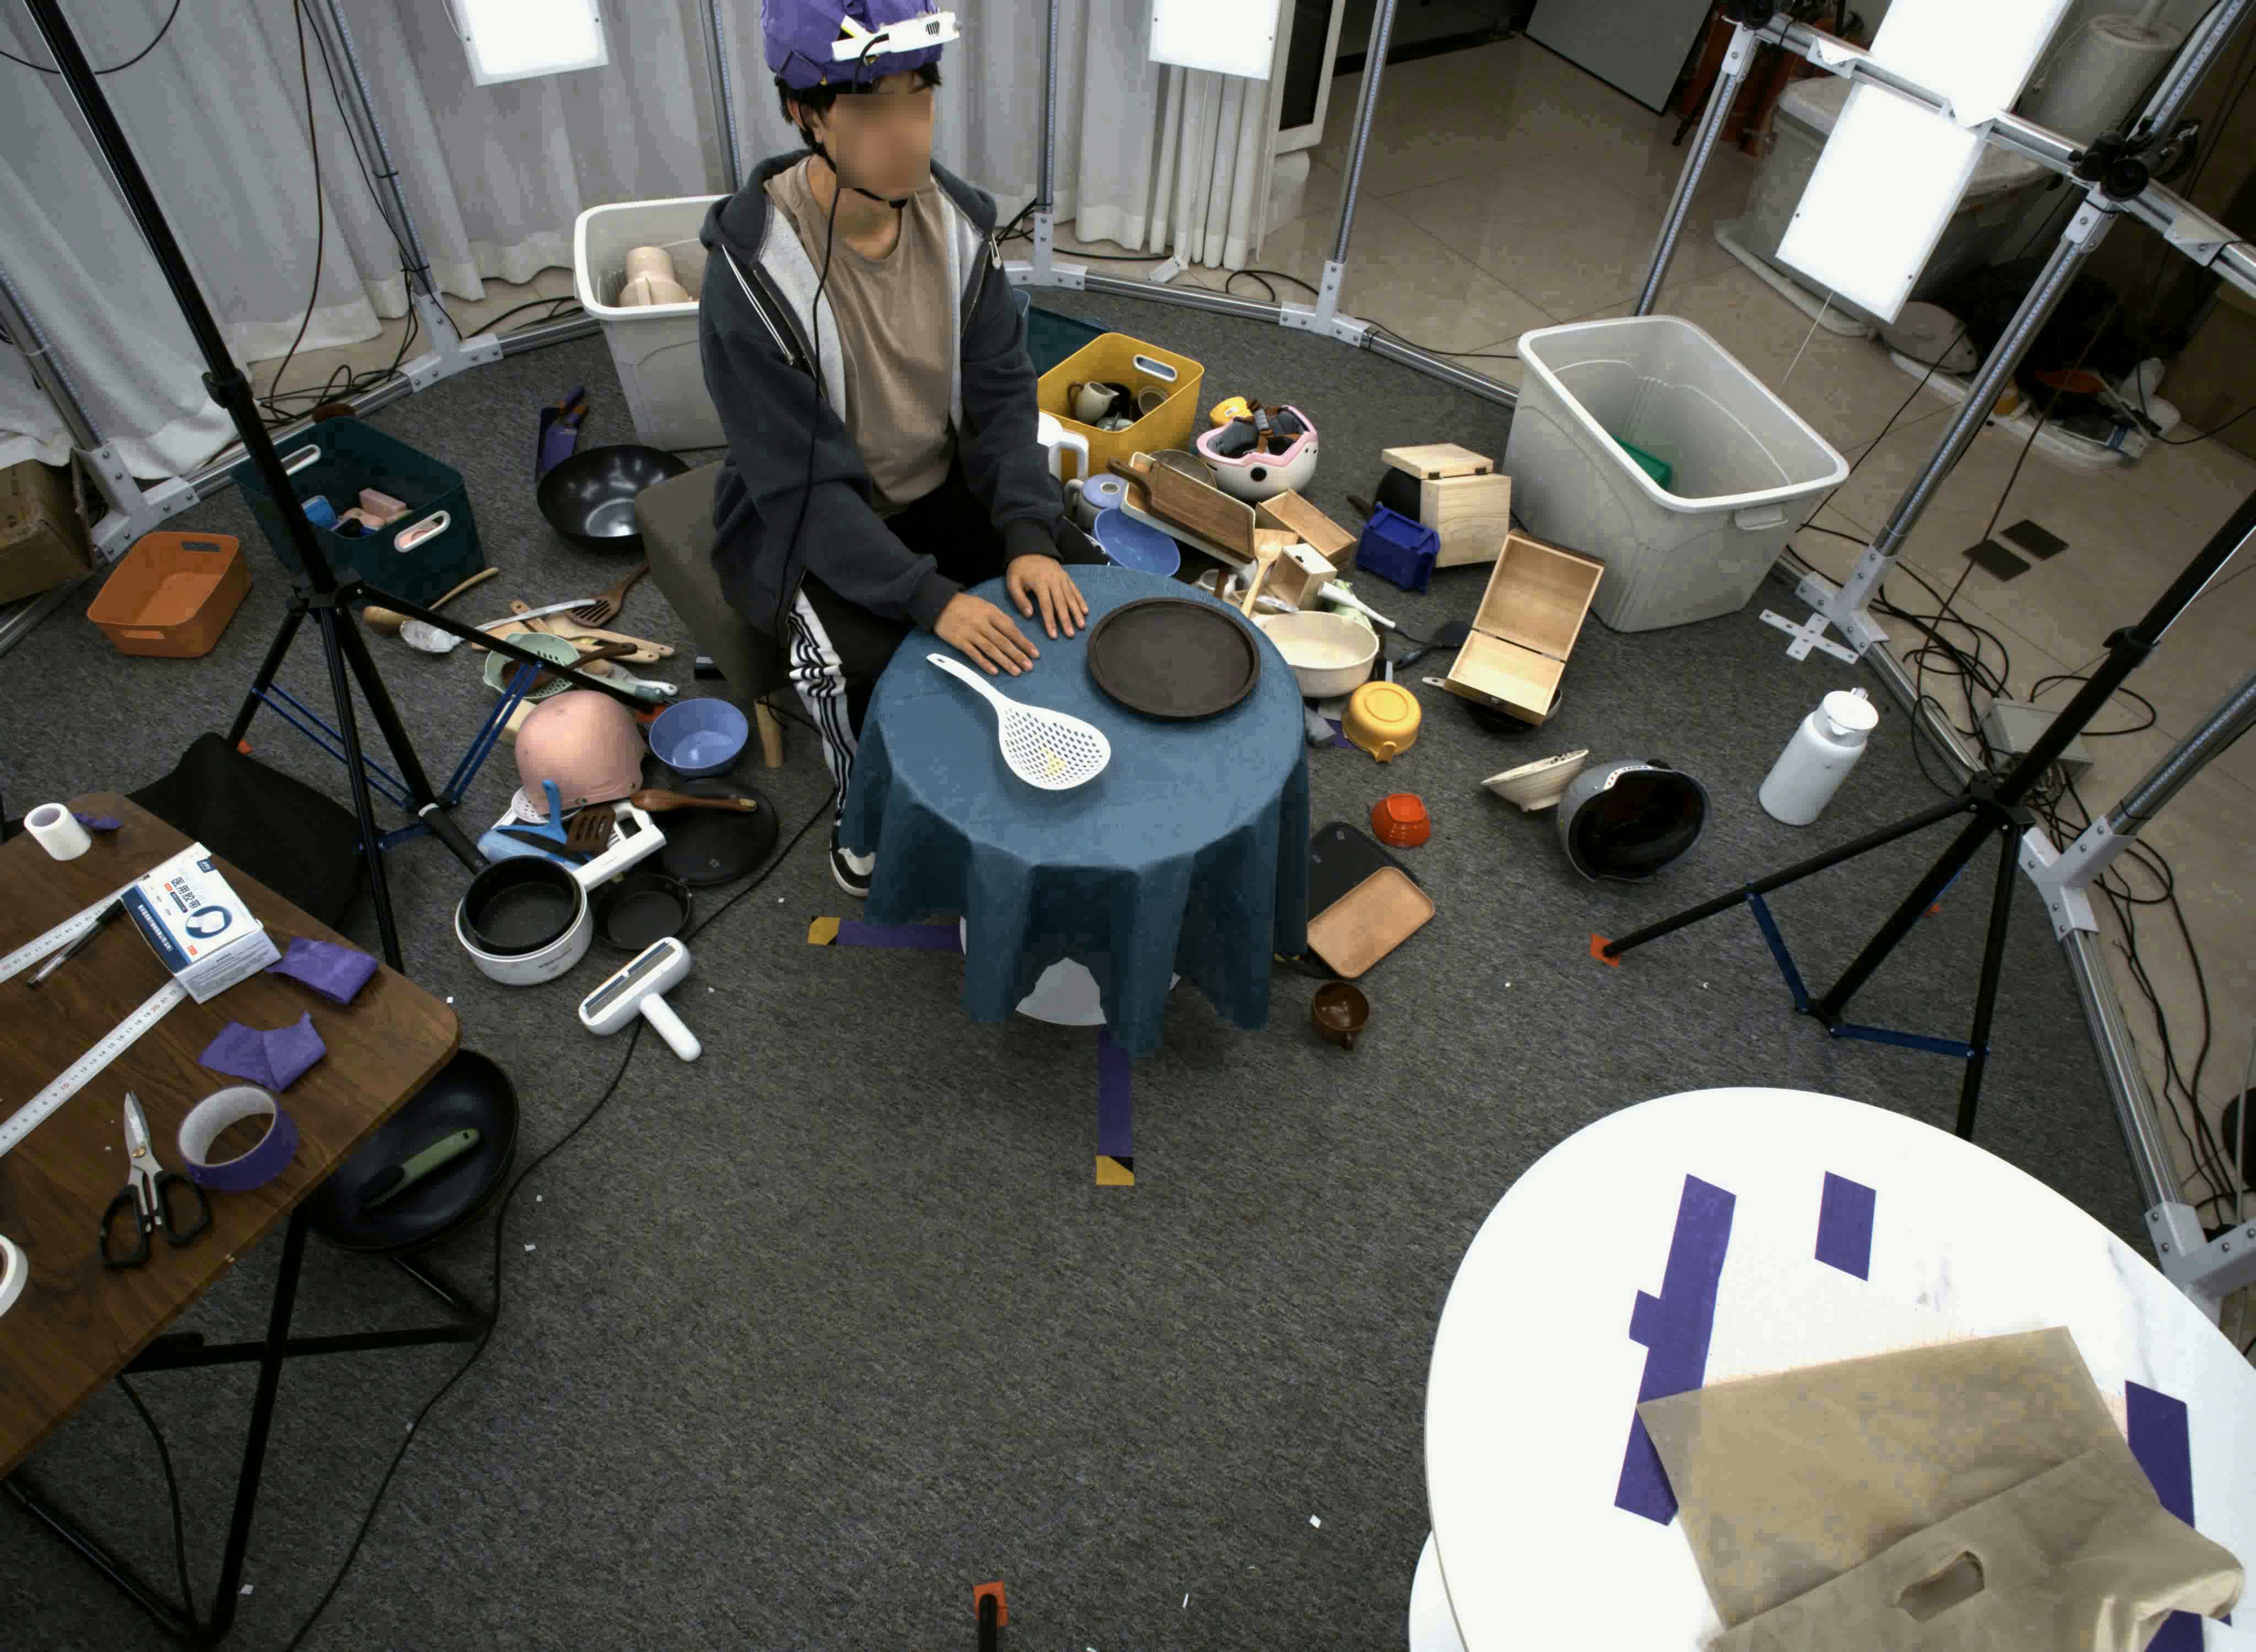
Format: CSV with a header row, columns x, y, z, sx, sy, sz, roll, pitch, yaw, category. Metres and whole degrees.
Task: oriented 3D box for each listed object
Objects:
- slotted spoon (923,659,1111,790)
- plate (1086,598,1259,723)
x,y,z,sx,sy,sz,roll,pitch,yaw,category
-0.167,-0.154,1.762,0.138,0.049,0.353,-34,59,-26,slotted spoon
0.065,-0.243,1.867,0.254,0.028,0.261,1,49,-2,plate
